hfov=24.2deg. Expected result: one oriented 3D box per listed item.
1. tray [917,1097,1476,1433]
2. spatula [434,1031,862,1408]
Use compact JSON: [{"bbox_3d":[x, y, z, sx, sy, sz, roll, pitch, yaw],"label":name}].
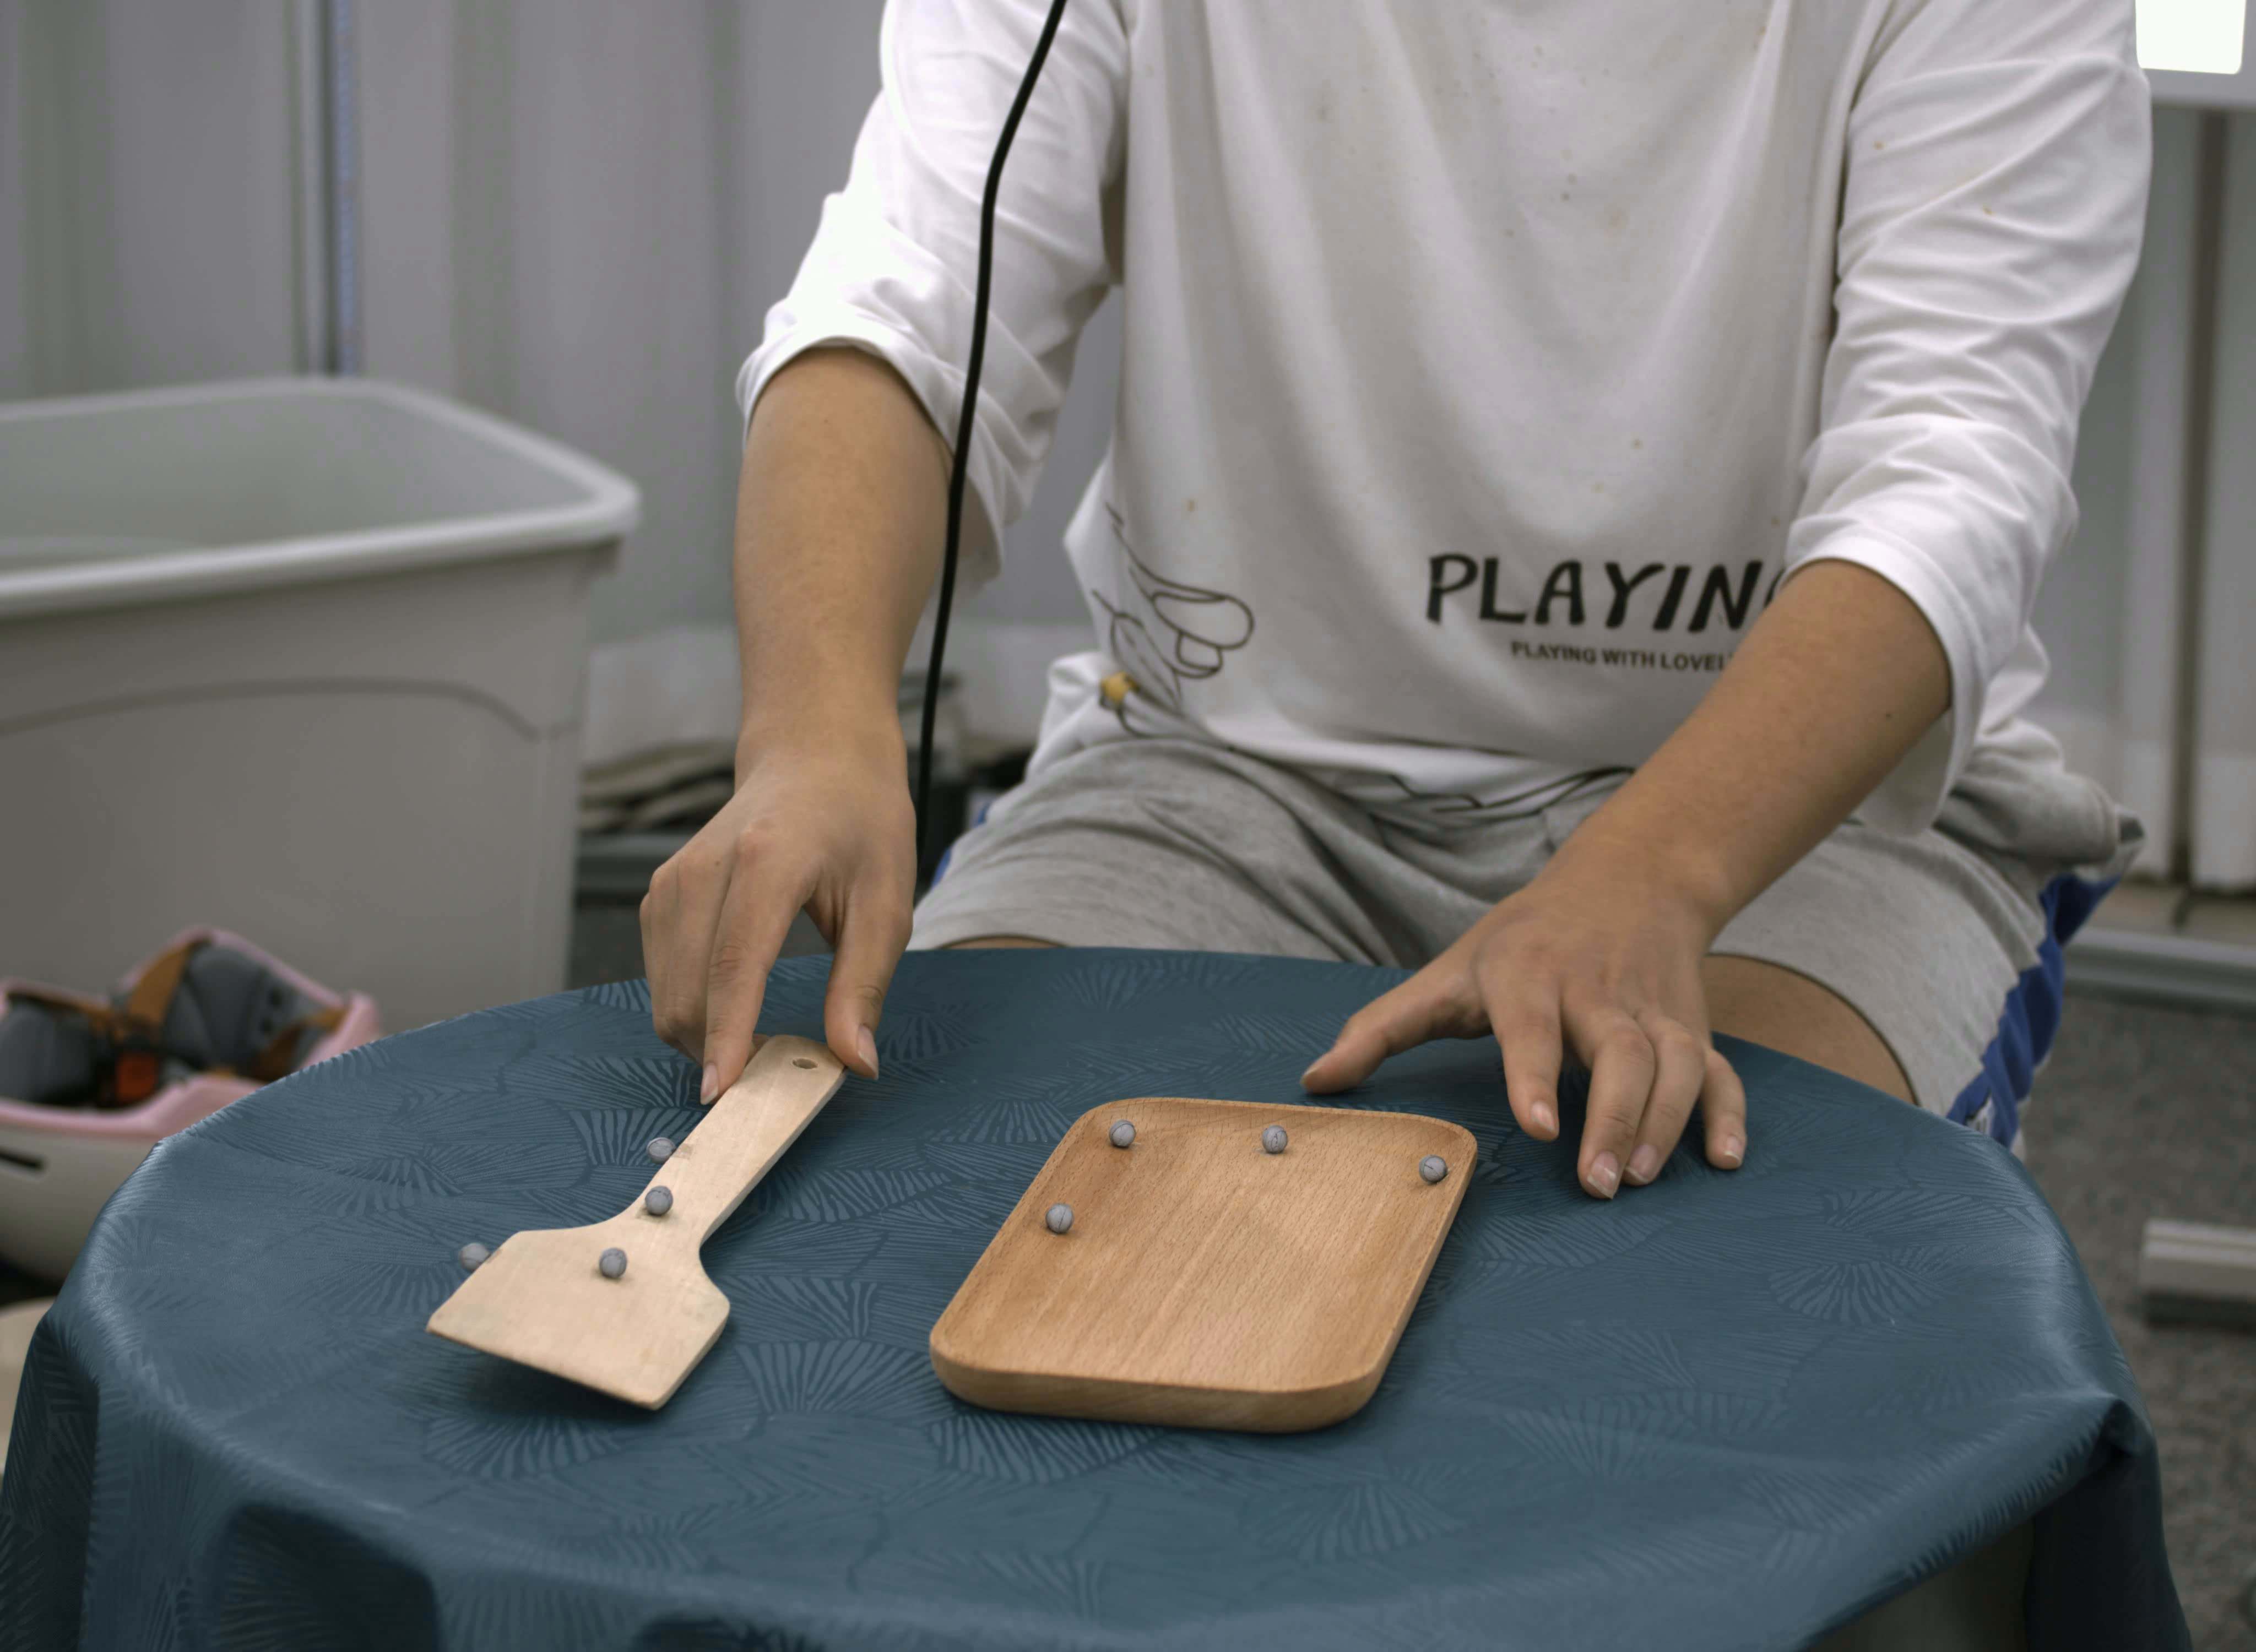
[{"bbox_3d":[0.025,0.126,1.550,0.129,0.023,0.250,2,16,13],"label":"tray"},{"bbox_3d":[-0.130,0.111,1.578,0.072,0.011,0.292,17,19,7],"label":"spatula"}]
